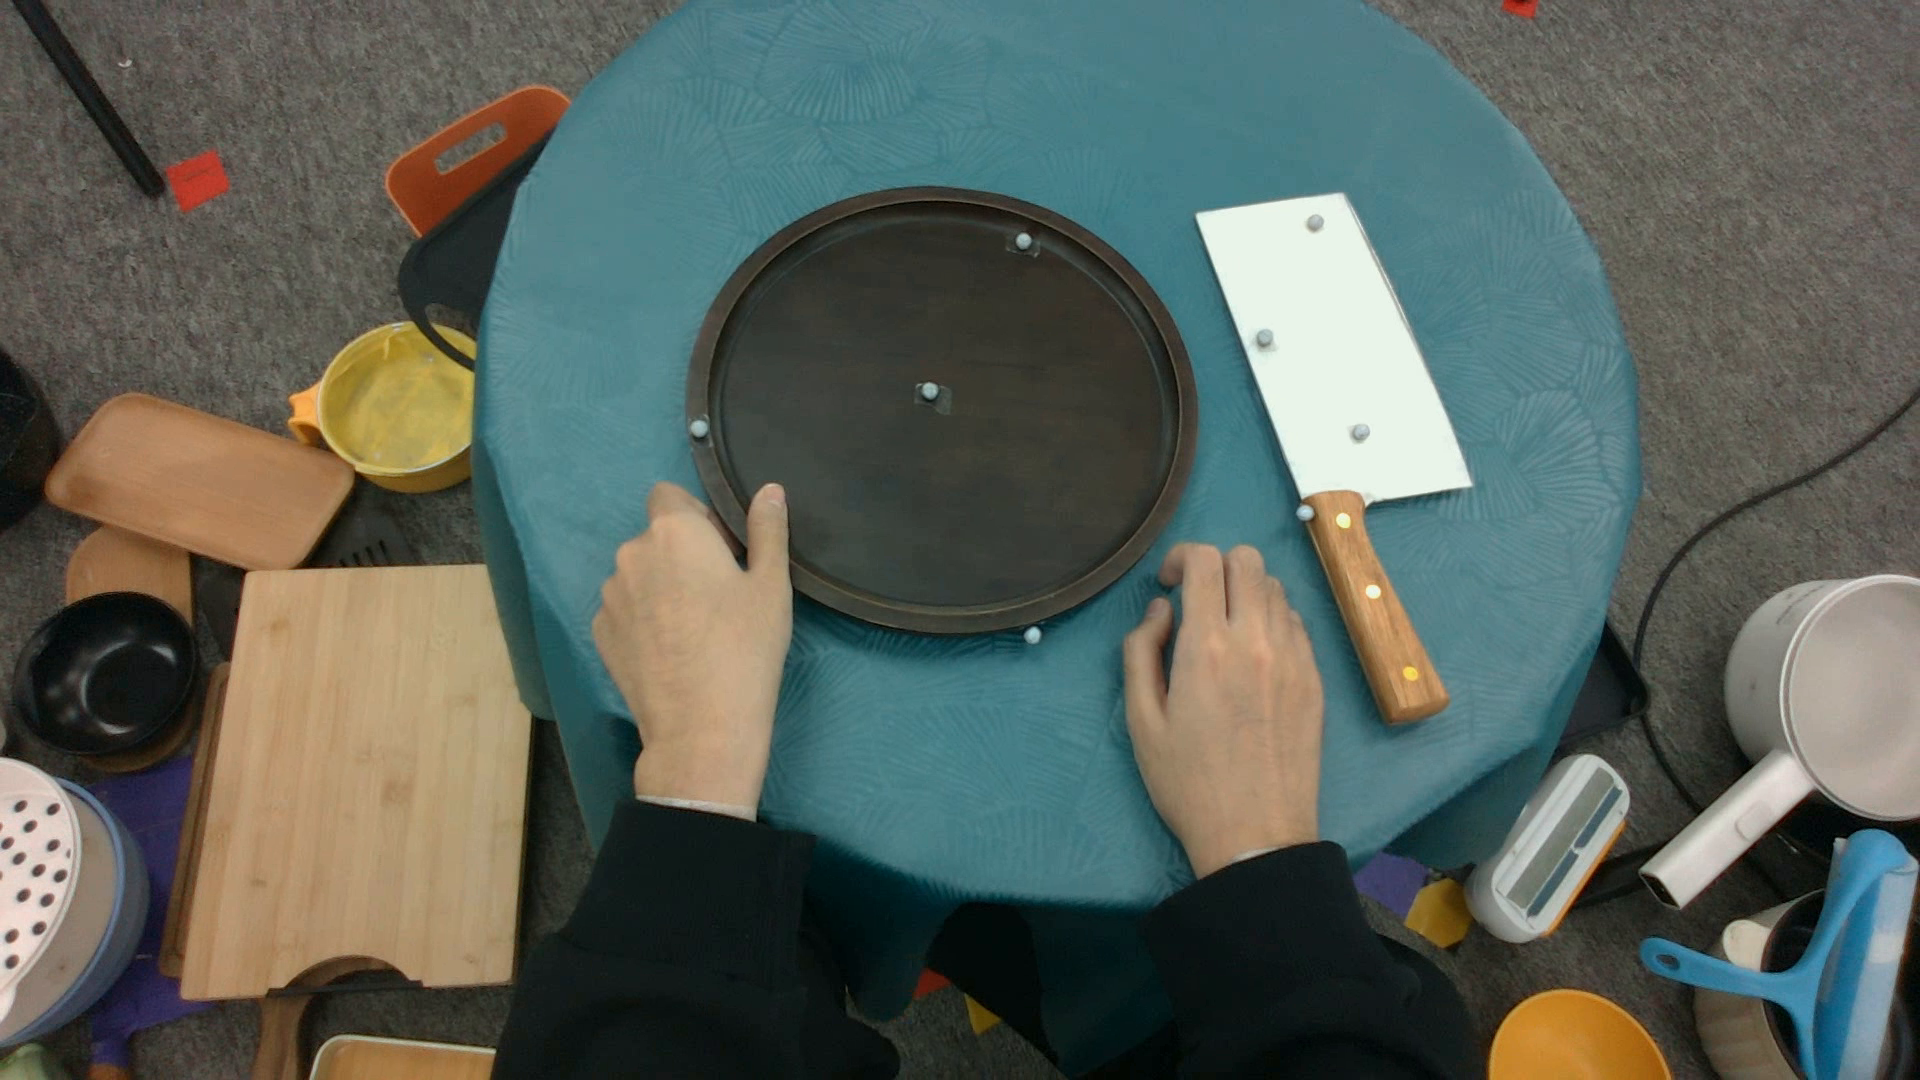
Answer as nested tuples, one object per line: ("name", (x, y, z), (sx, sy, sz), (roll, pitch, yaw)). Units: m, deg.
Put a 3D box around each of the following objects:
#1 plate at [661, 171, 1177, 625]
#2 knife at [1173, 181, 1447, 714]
("plate", (-0.018, -0.076, 0.680), (0.255, 0.029, 0.255), (2, 66, -3))
("knife", (0.194, -0.062, 0.700), (0.093, 0.021, 0.306), (-10, 65, -11))
